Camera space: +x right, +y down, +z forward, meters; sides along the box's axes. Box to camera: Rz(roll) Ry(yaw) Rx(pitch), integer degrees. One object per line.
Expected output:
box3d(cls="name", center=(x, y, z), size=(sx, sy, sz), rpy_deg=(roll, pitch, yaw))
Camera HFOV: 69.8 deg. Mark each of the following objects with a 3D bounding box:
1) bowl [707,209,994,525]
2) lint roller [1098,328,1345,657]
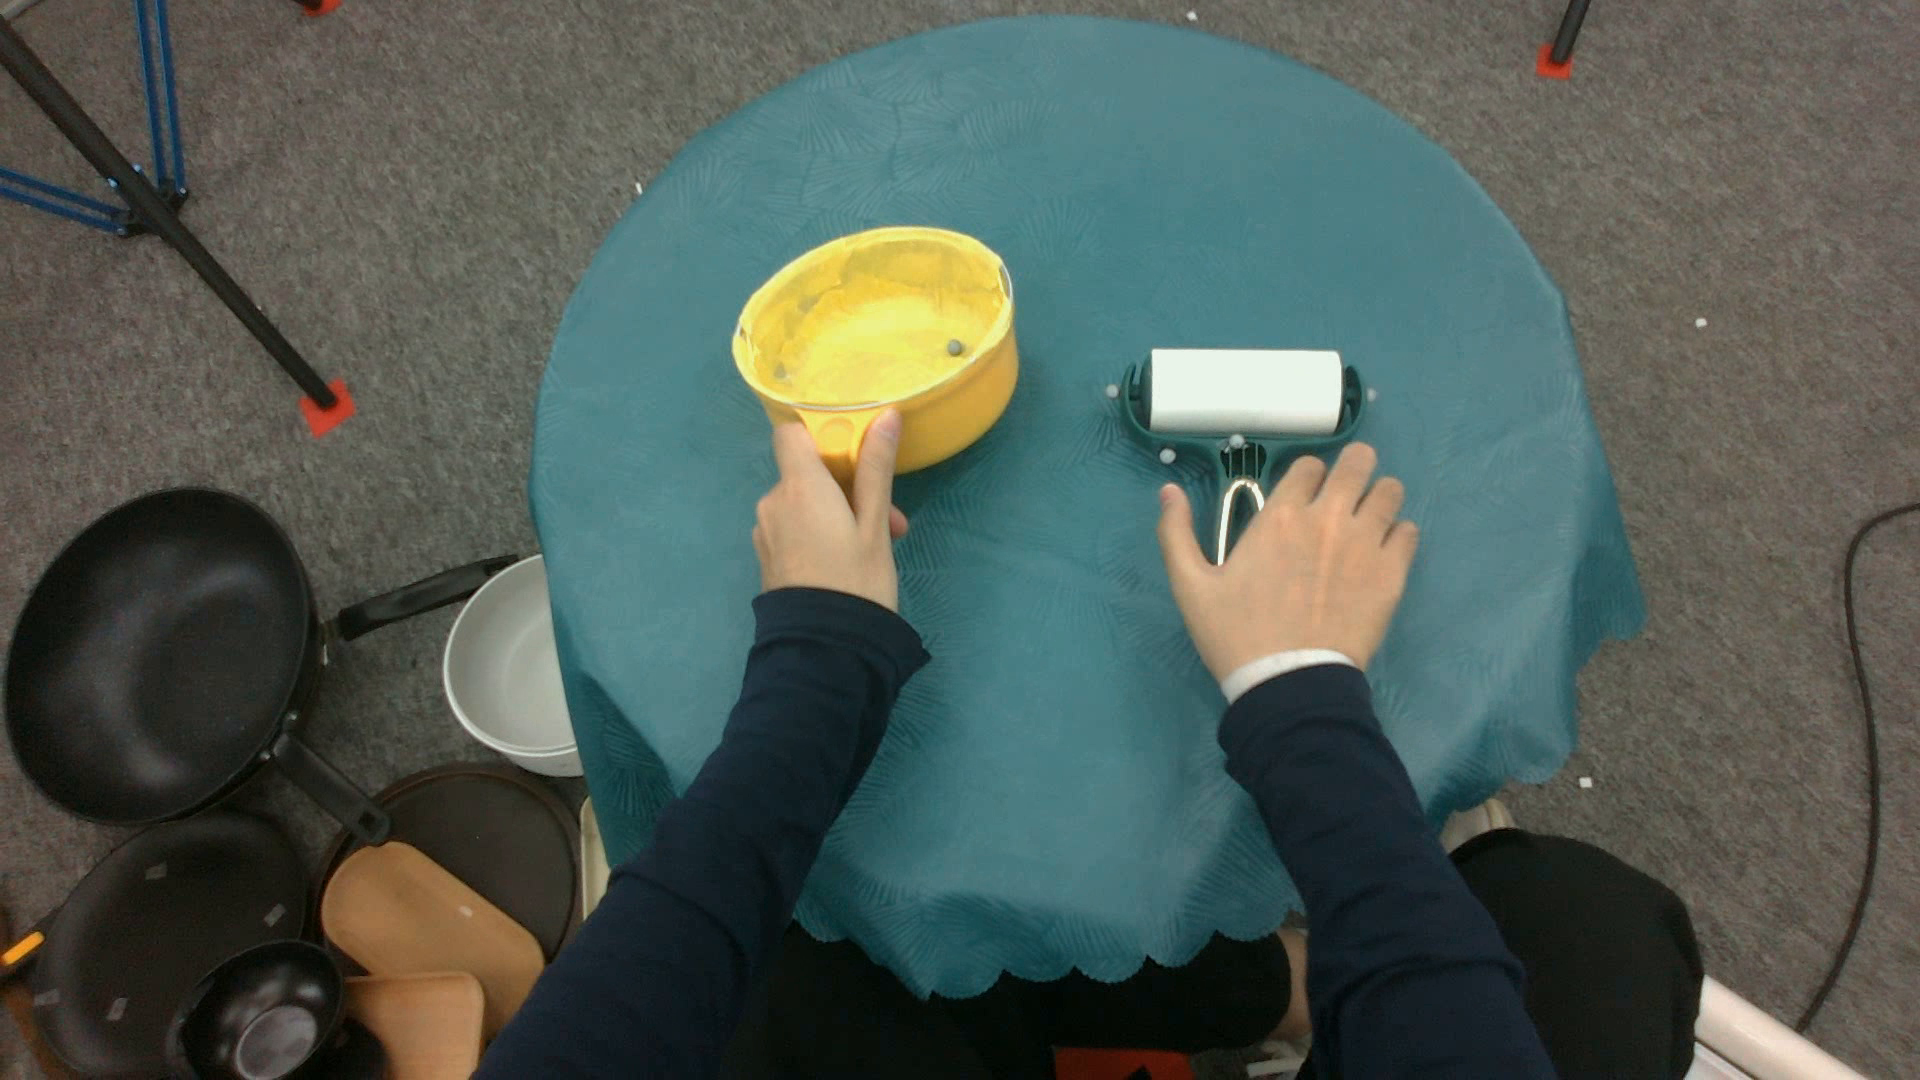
box3d(cls="bowl", center=(-0.057, -0.097, 0.742), size=(0.153, 0.074, 0.180), rpy_deg=(-6, 47, 10))
box3d(cls="lint roller", center=(0.140, -0.030, 0.732), size=(0.134, 0.048, 0.180), rpy_deg=(1, 67, 3))
